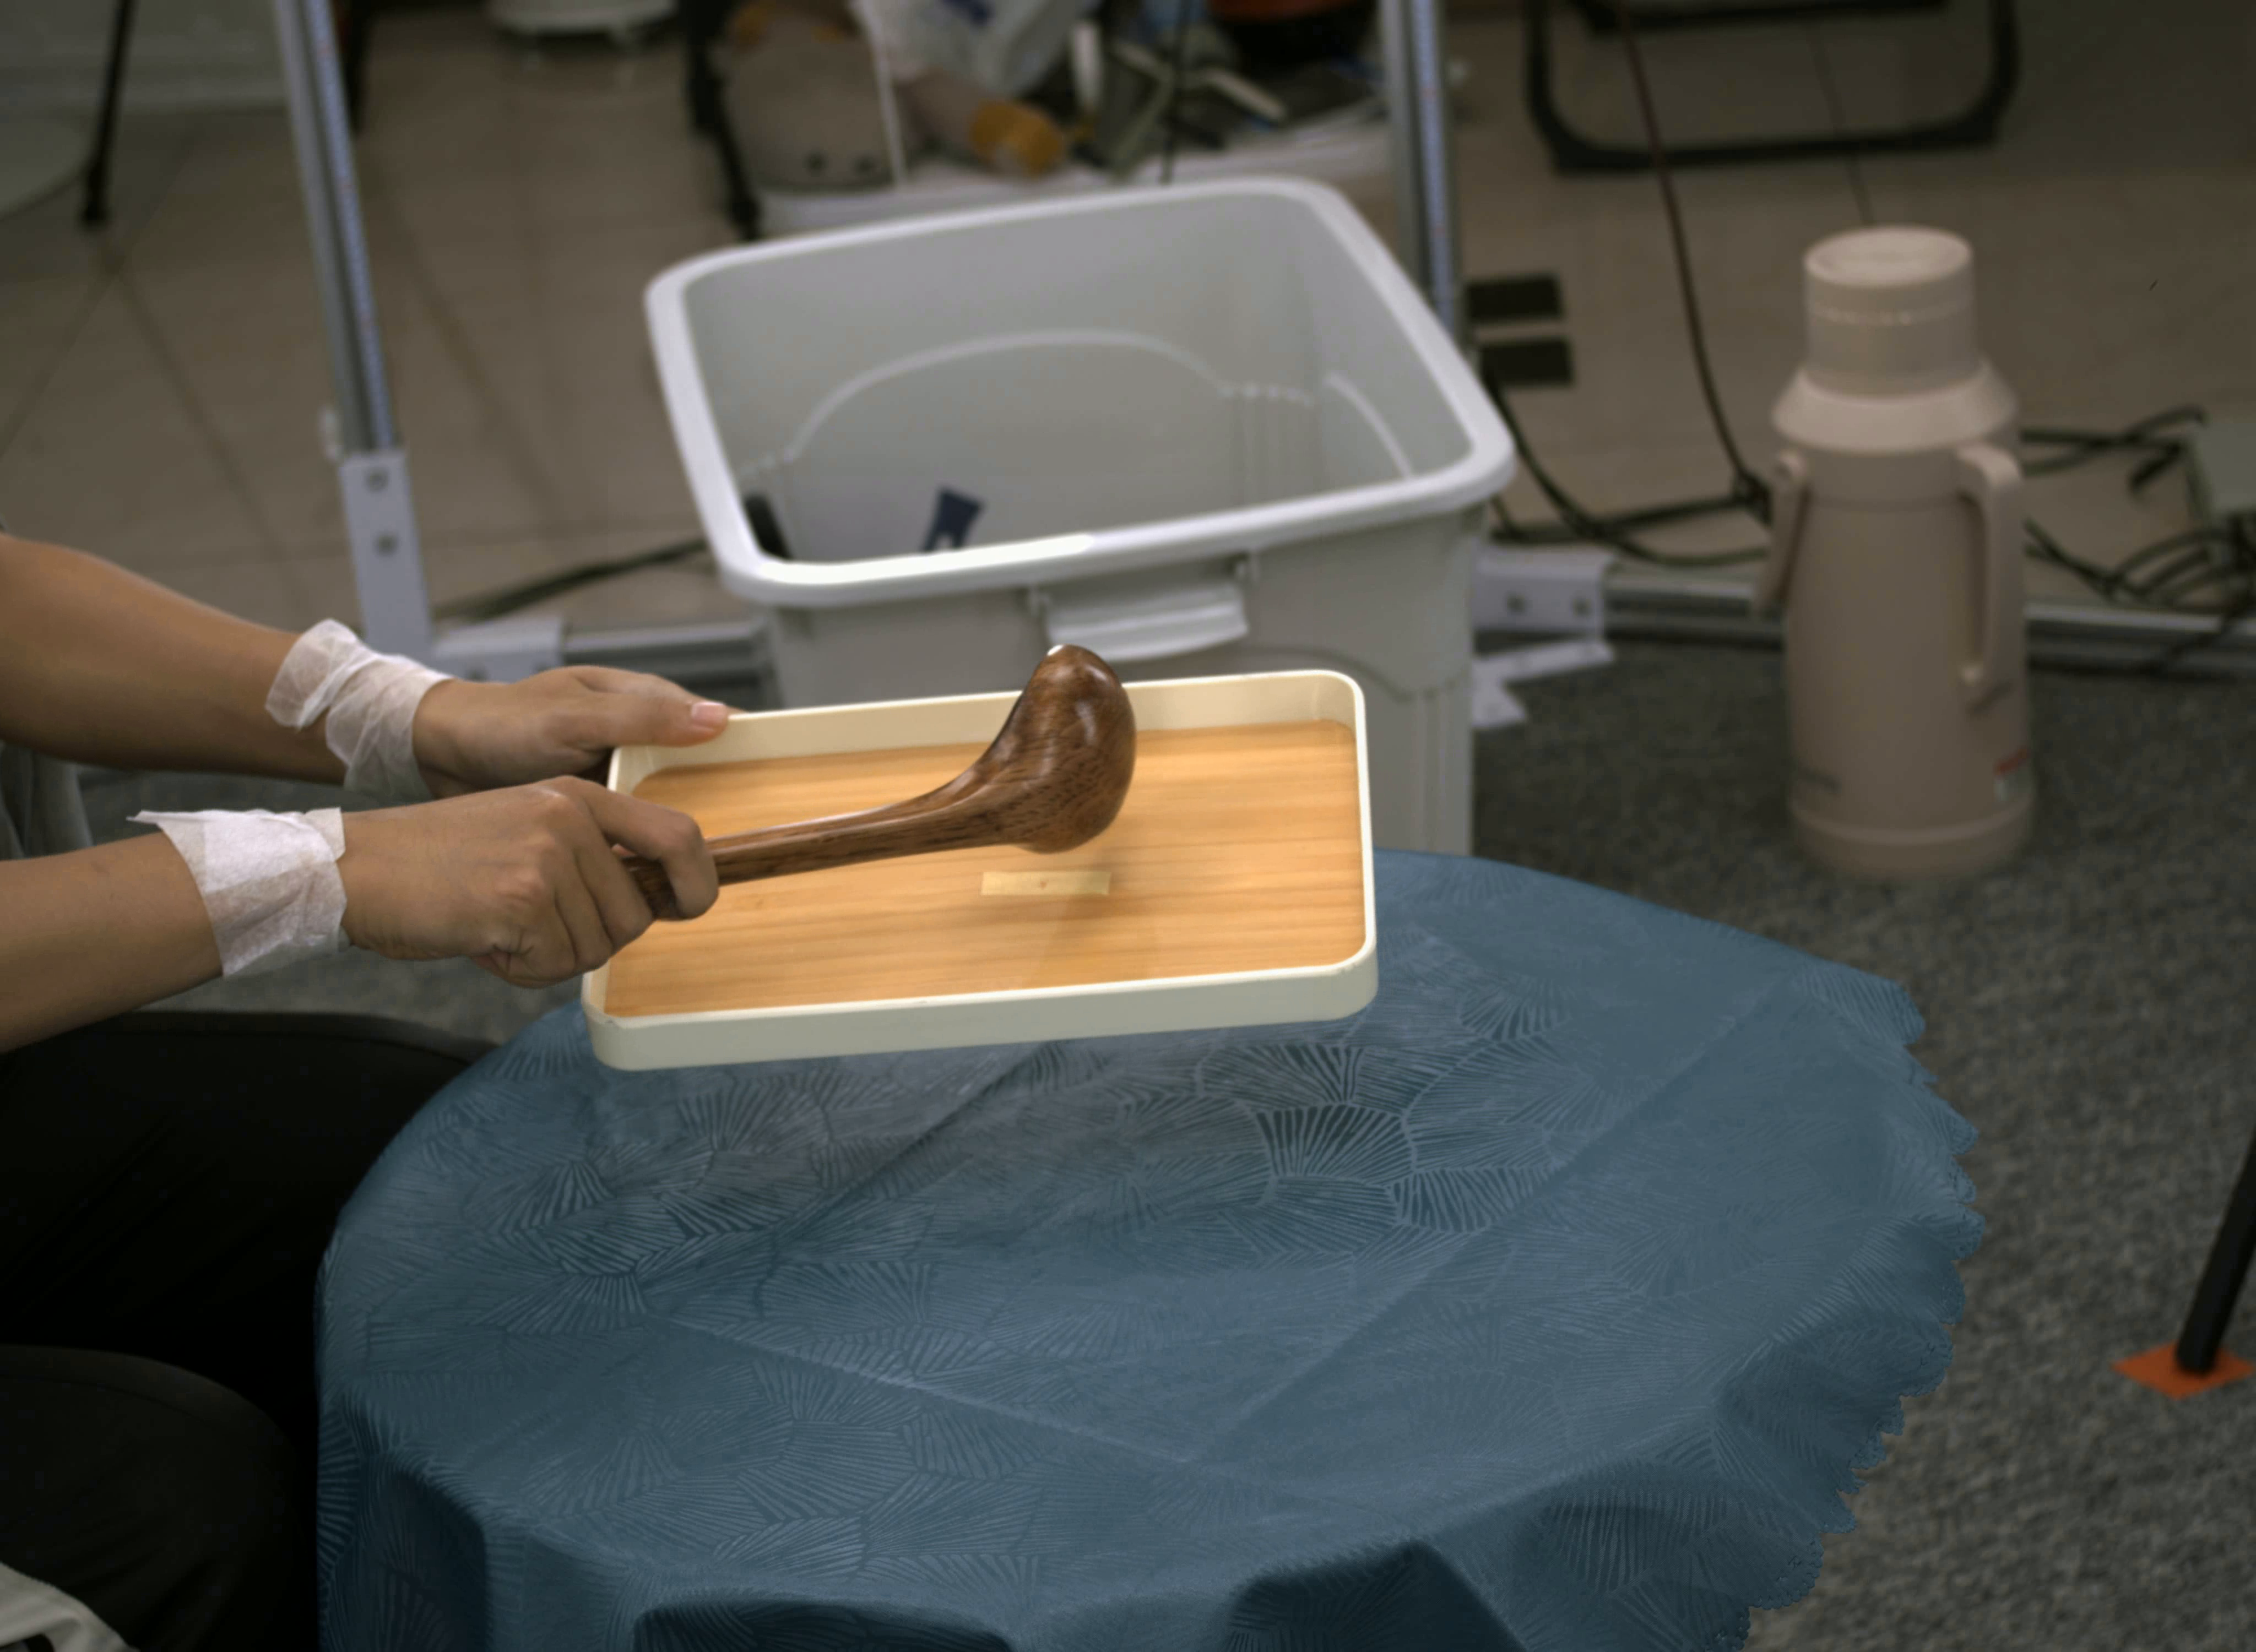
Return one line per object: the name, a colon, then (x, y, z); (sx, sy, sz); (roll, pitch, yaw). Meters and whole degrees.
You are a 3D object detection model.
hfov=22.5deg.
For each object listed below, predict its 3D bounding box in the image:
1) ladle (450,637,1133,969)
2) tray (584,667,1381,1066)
ladle: (-0.126, -0.006, 2.131); (0.273, 0.083, 0.075); (-13, 29, -10)
tray: (-0.054, 0.014, 2.183); (0.300, 0.028, 0.188); (-4, 39, 4)
